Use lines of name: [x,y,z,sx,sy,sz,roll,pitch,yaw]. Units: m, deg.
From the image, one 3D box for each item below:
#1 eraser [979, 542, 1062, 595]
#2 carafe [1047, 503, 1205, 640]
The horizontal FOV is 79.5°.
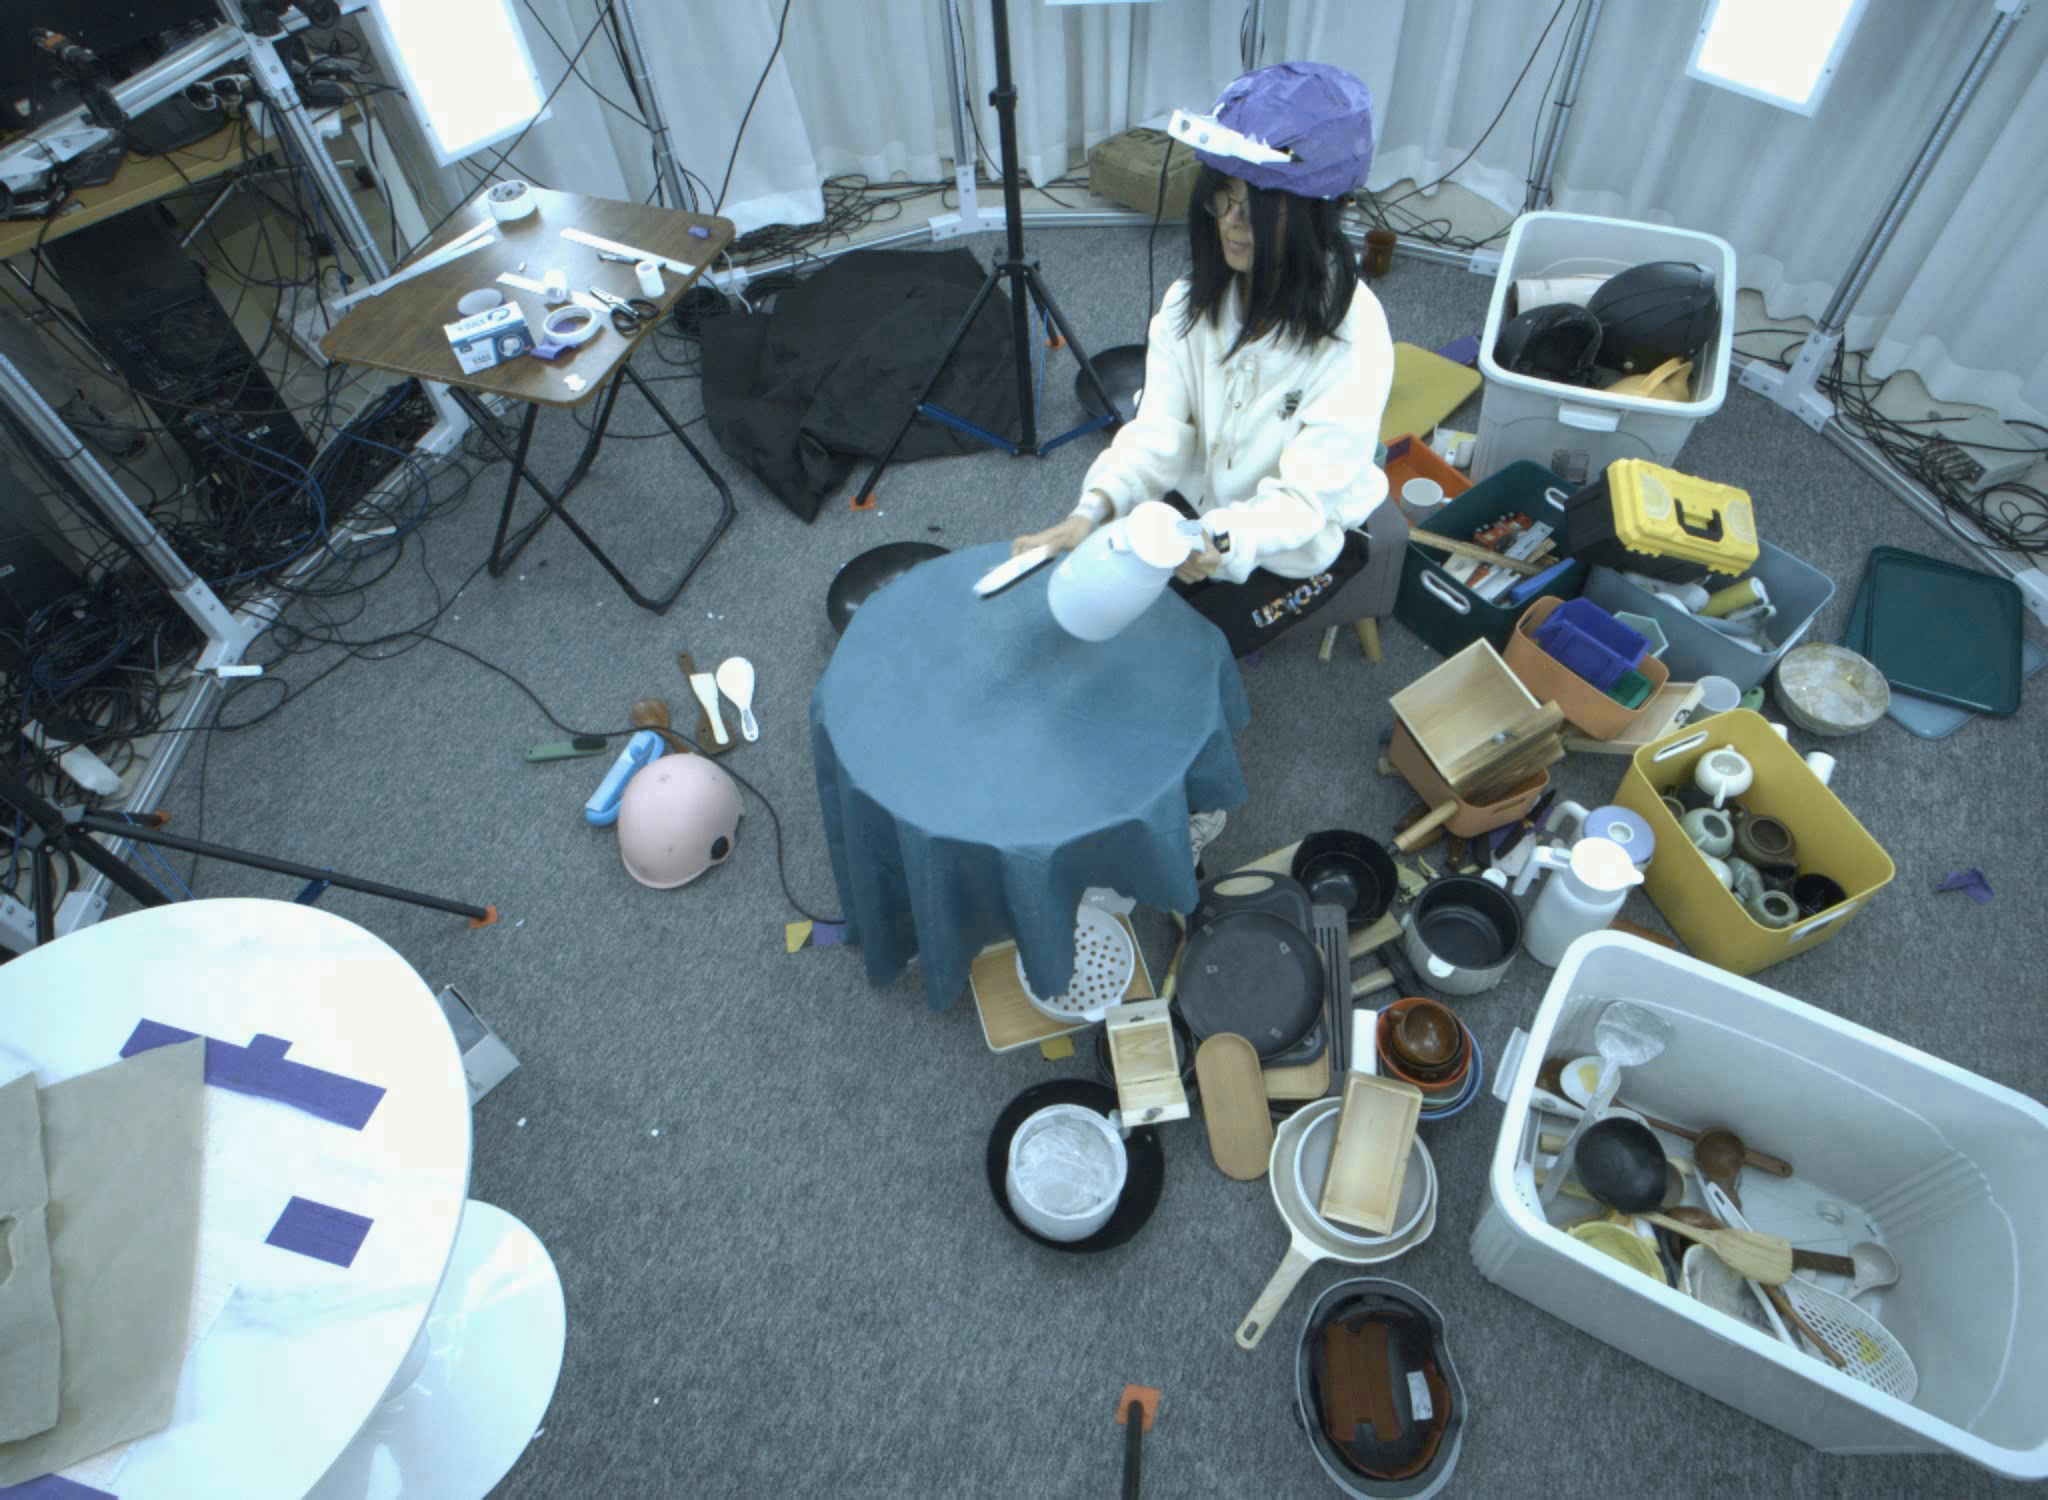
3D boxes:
eraser: [-0.005,-0.268,1.789,0.132,0.035,0.062,-36,17,-33]
carafe: [0.152,-0.254,1.682,0.170,0.246,0.132,-12,82,-24]
